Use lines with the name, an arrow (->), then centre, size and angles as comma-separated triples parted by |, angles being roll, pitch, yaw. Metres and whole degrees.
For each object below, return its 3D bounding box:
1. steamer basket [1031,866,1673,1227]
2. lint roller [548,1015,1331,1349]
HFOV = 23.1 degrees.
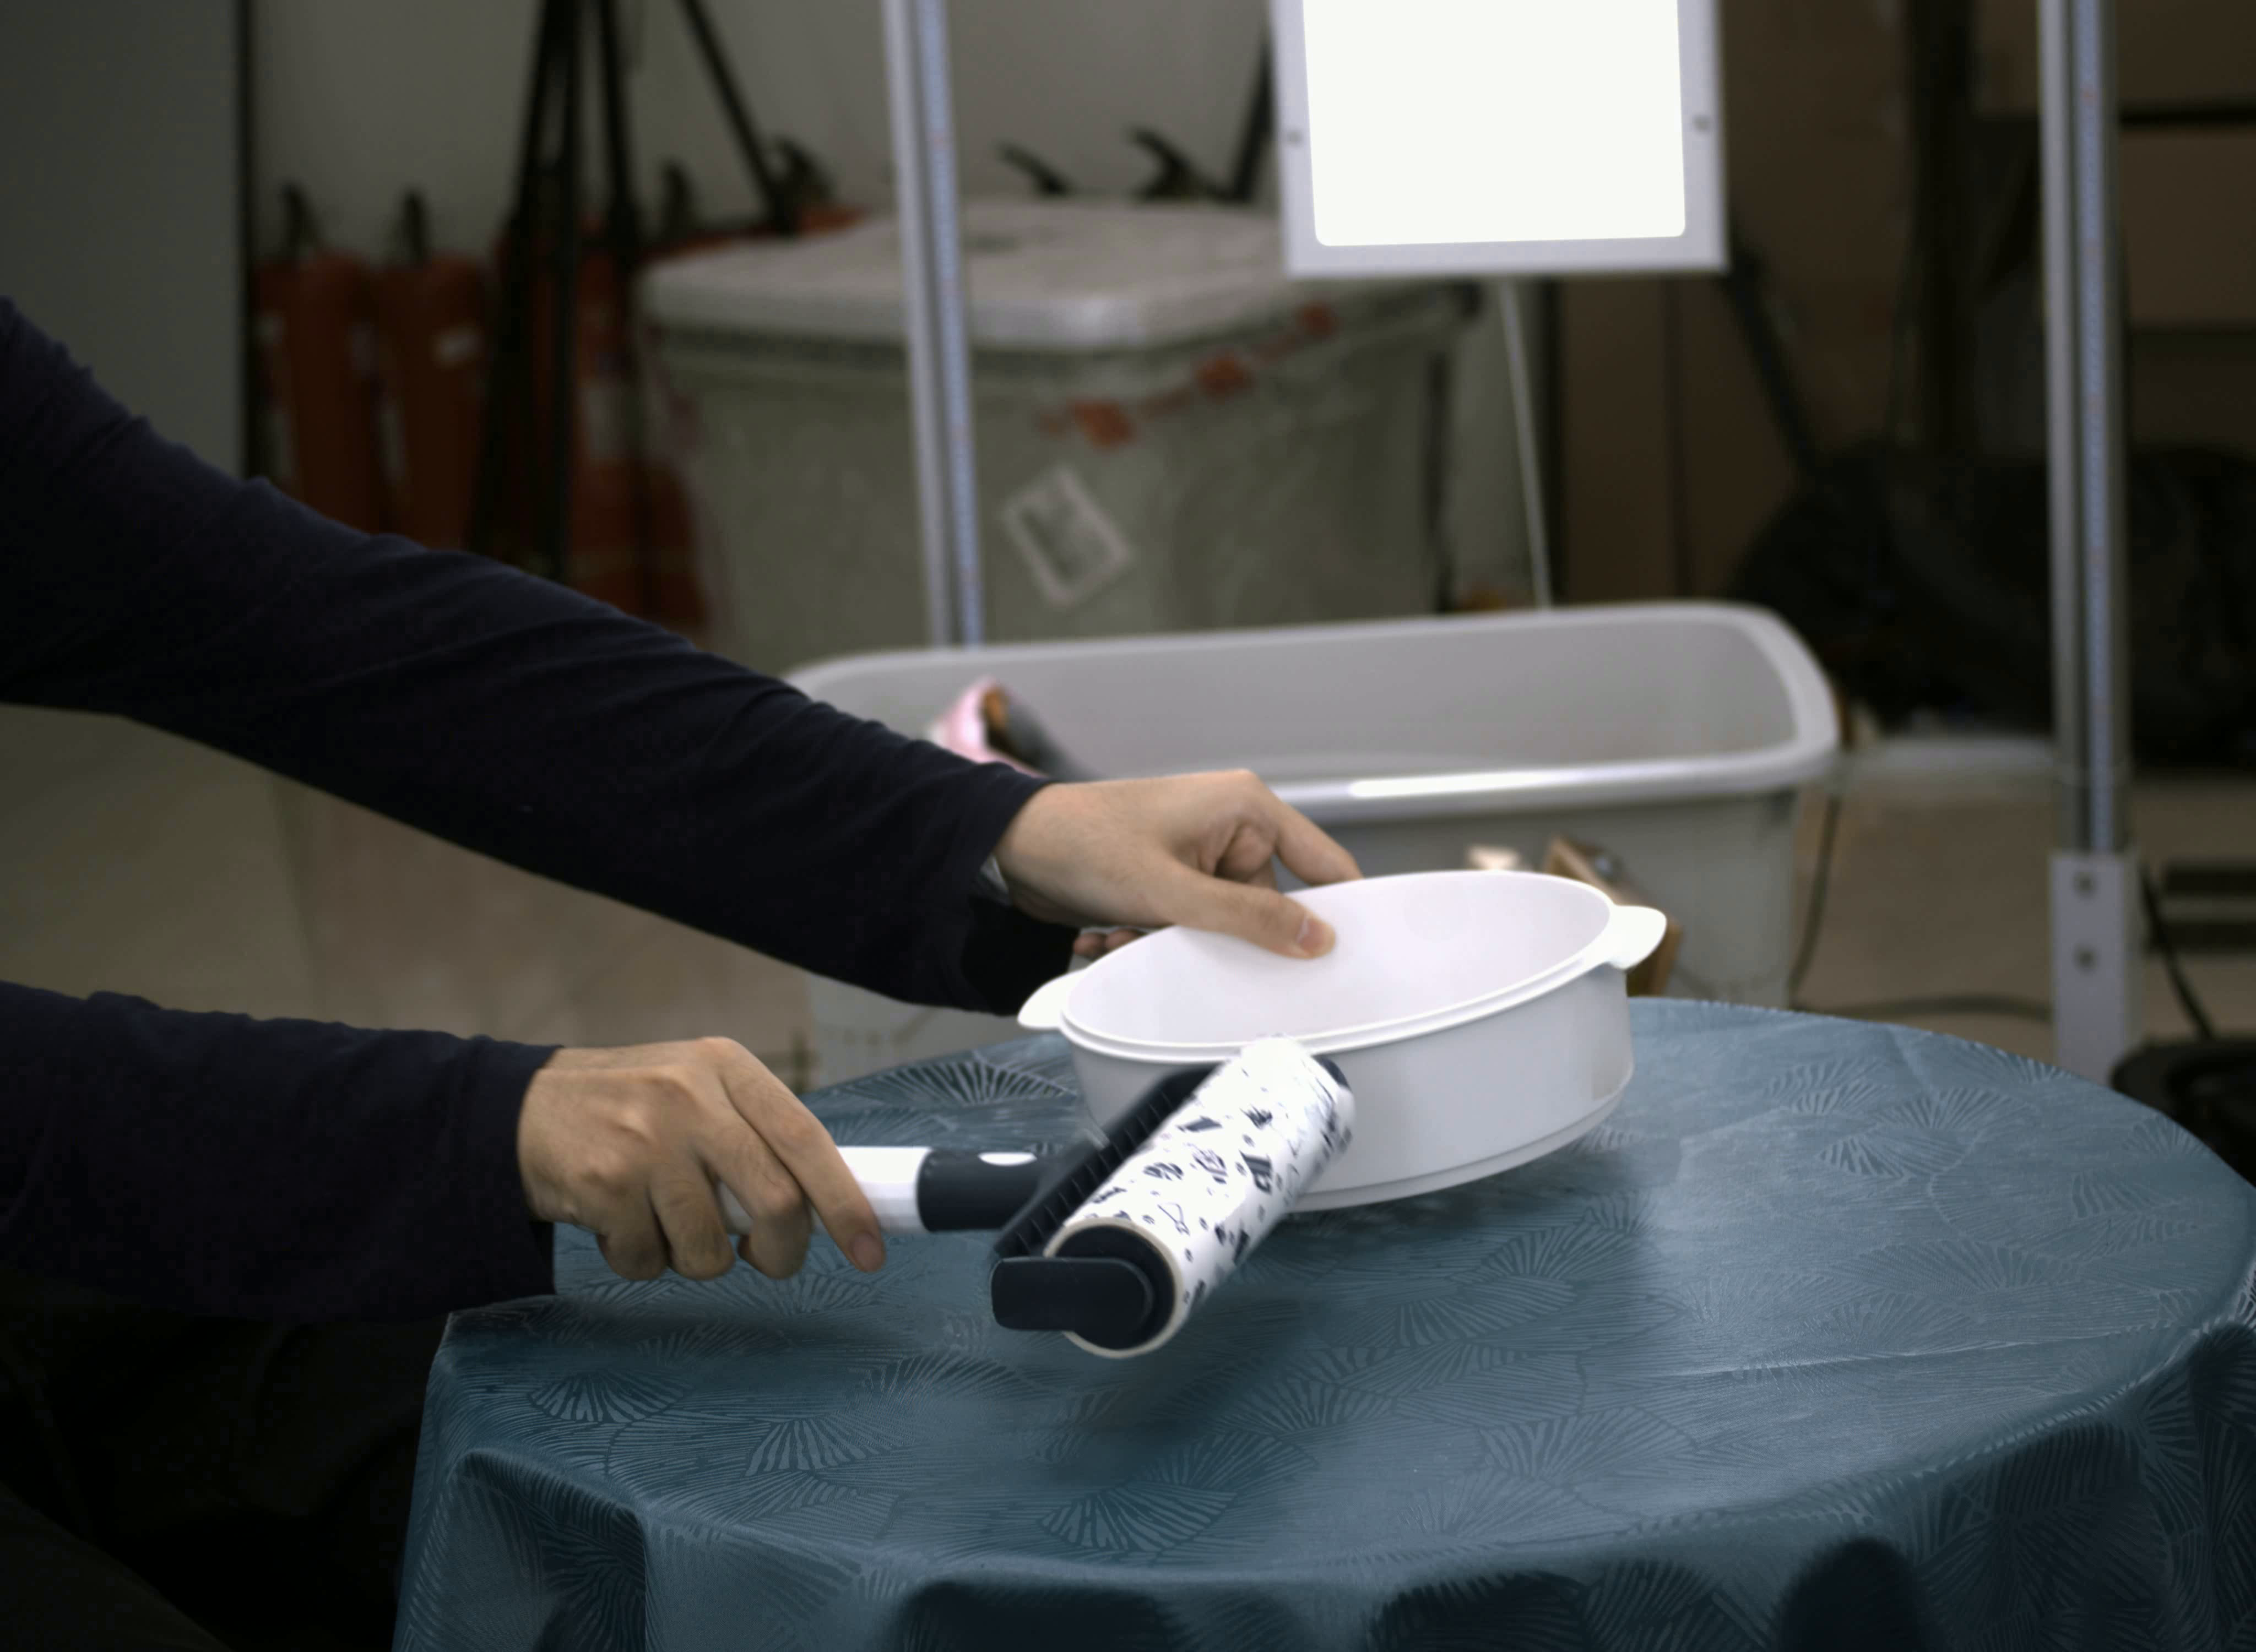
steamer basket -> 0.084, 0.077, 1.912 | 0.233, 0.069, 0.199 | -11, 13, 19
lint roller -> -0.075, 0.113, 1.753 | 0.251, 0.050, 0.173 | -2, 19, 23
